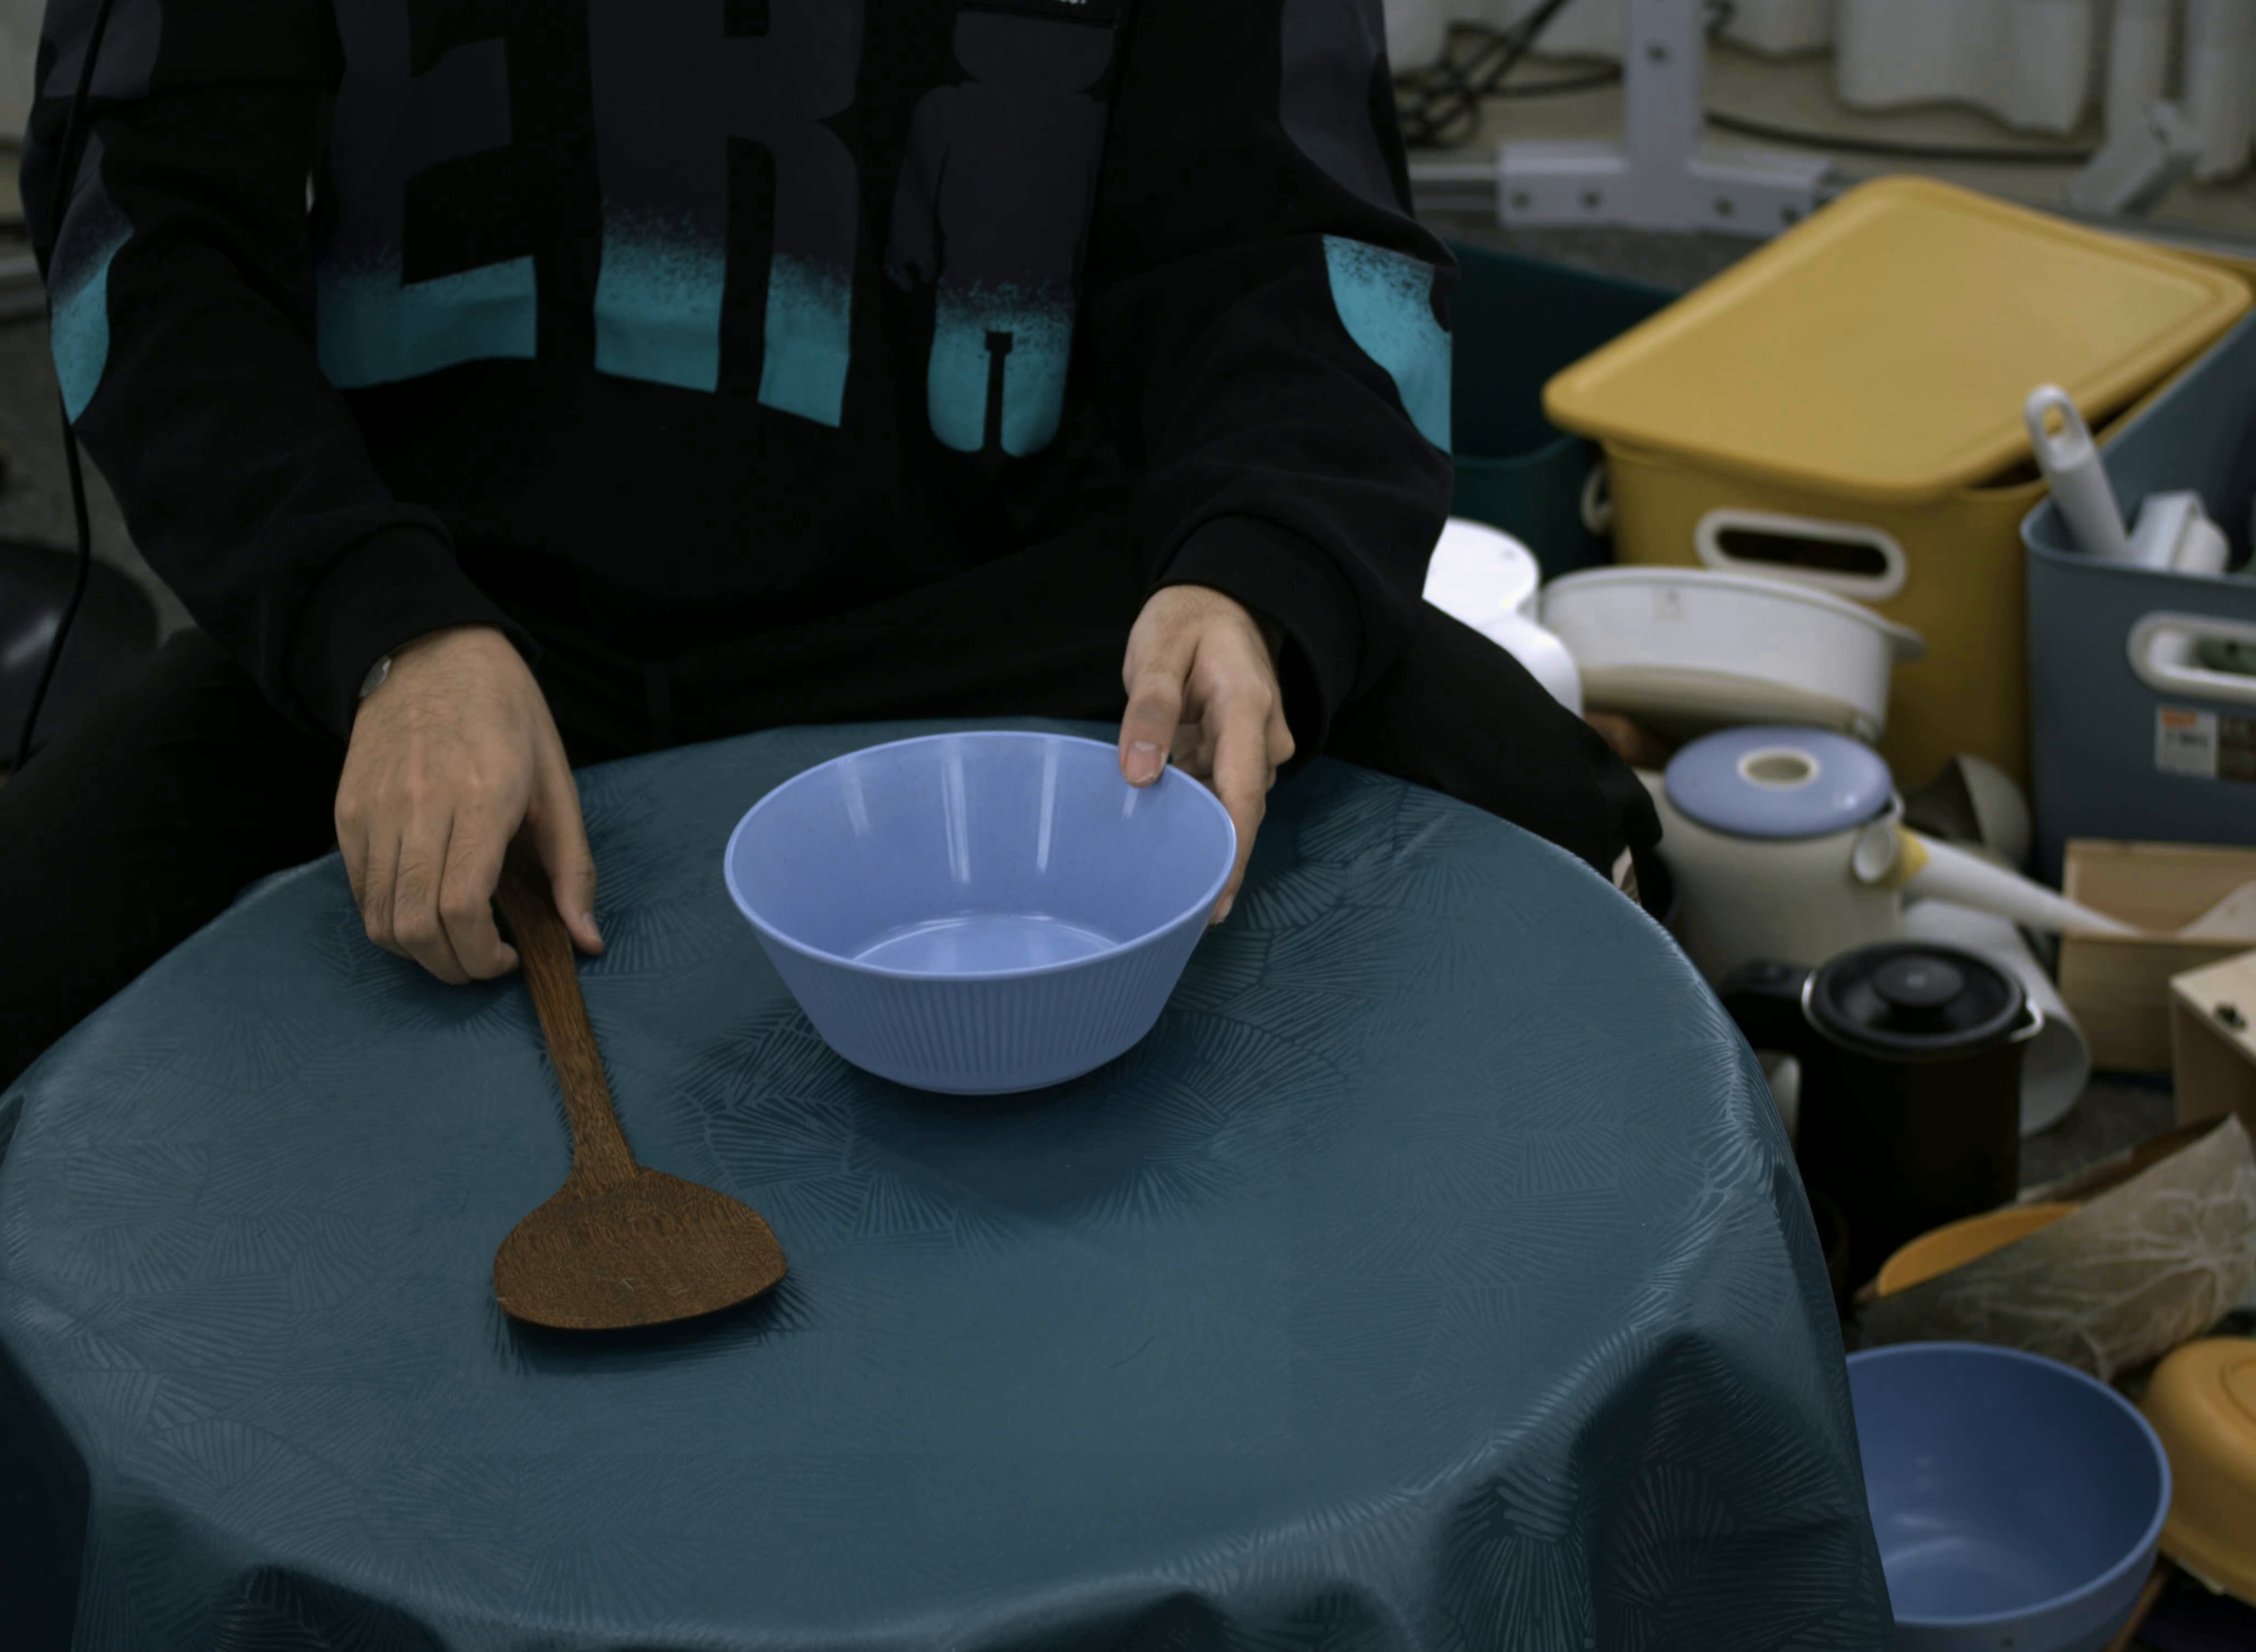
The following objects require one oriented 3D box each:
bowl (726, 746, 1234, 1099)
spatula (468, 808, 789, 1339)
[{"bbox_3d":[-0.049,0.039,1.936,0.175,0.069,0.178,-2,26,1],"label":"bowl"},{"bbox_3d":[-0.193,0.077,1.951,0.096,0.015,0.390,-8,28,-10],"label":"spatula"}]
